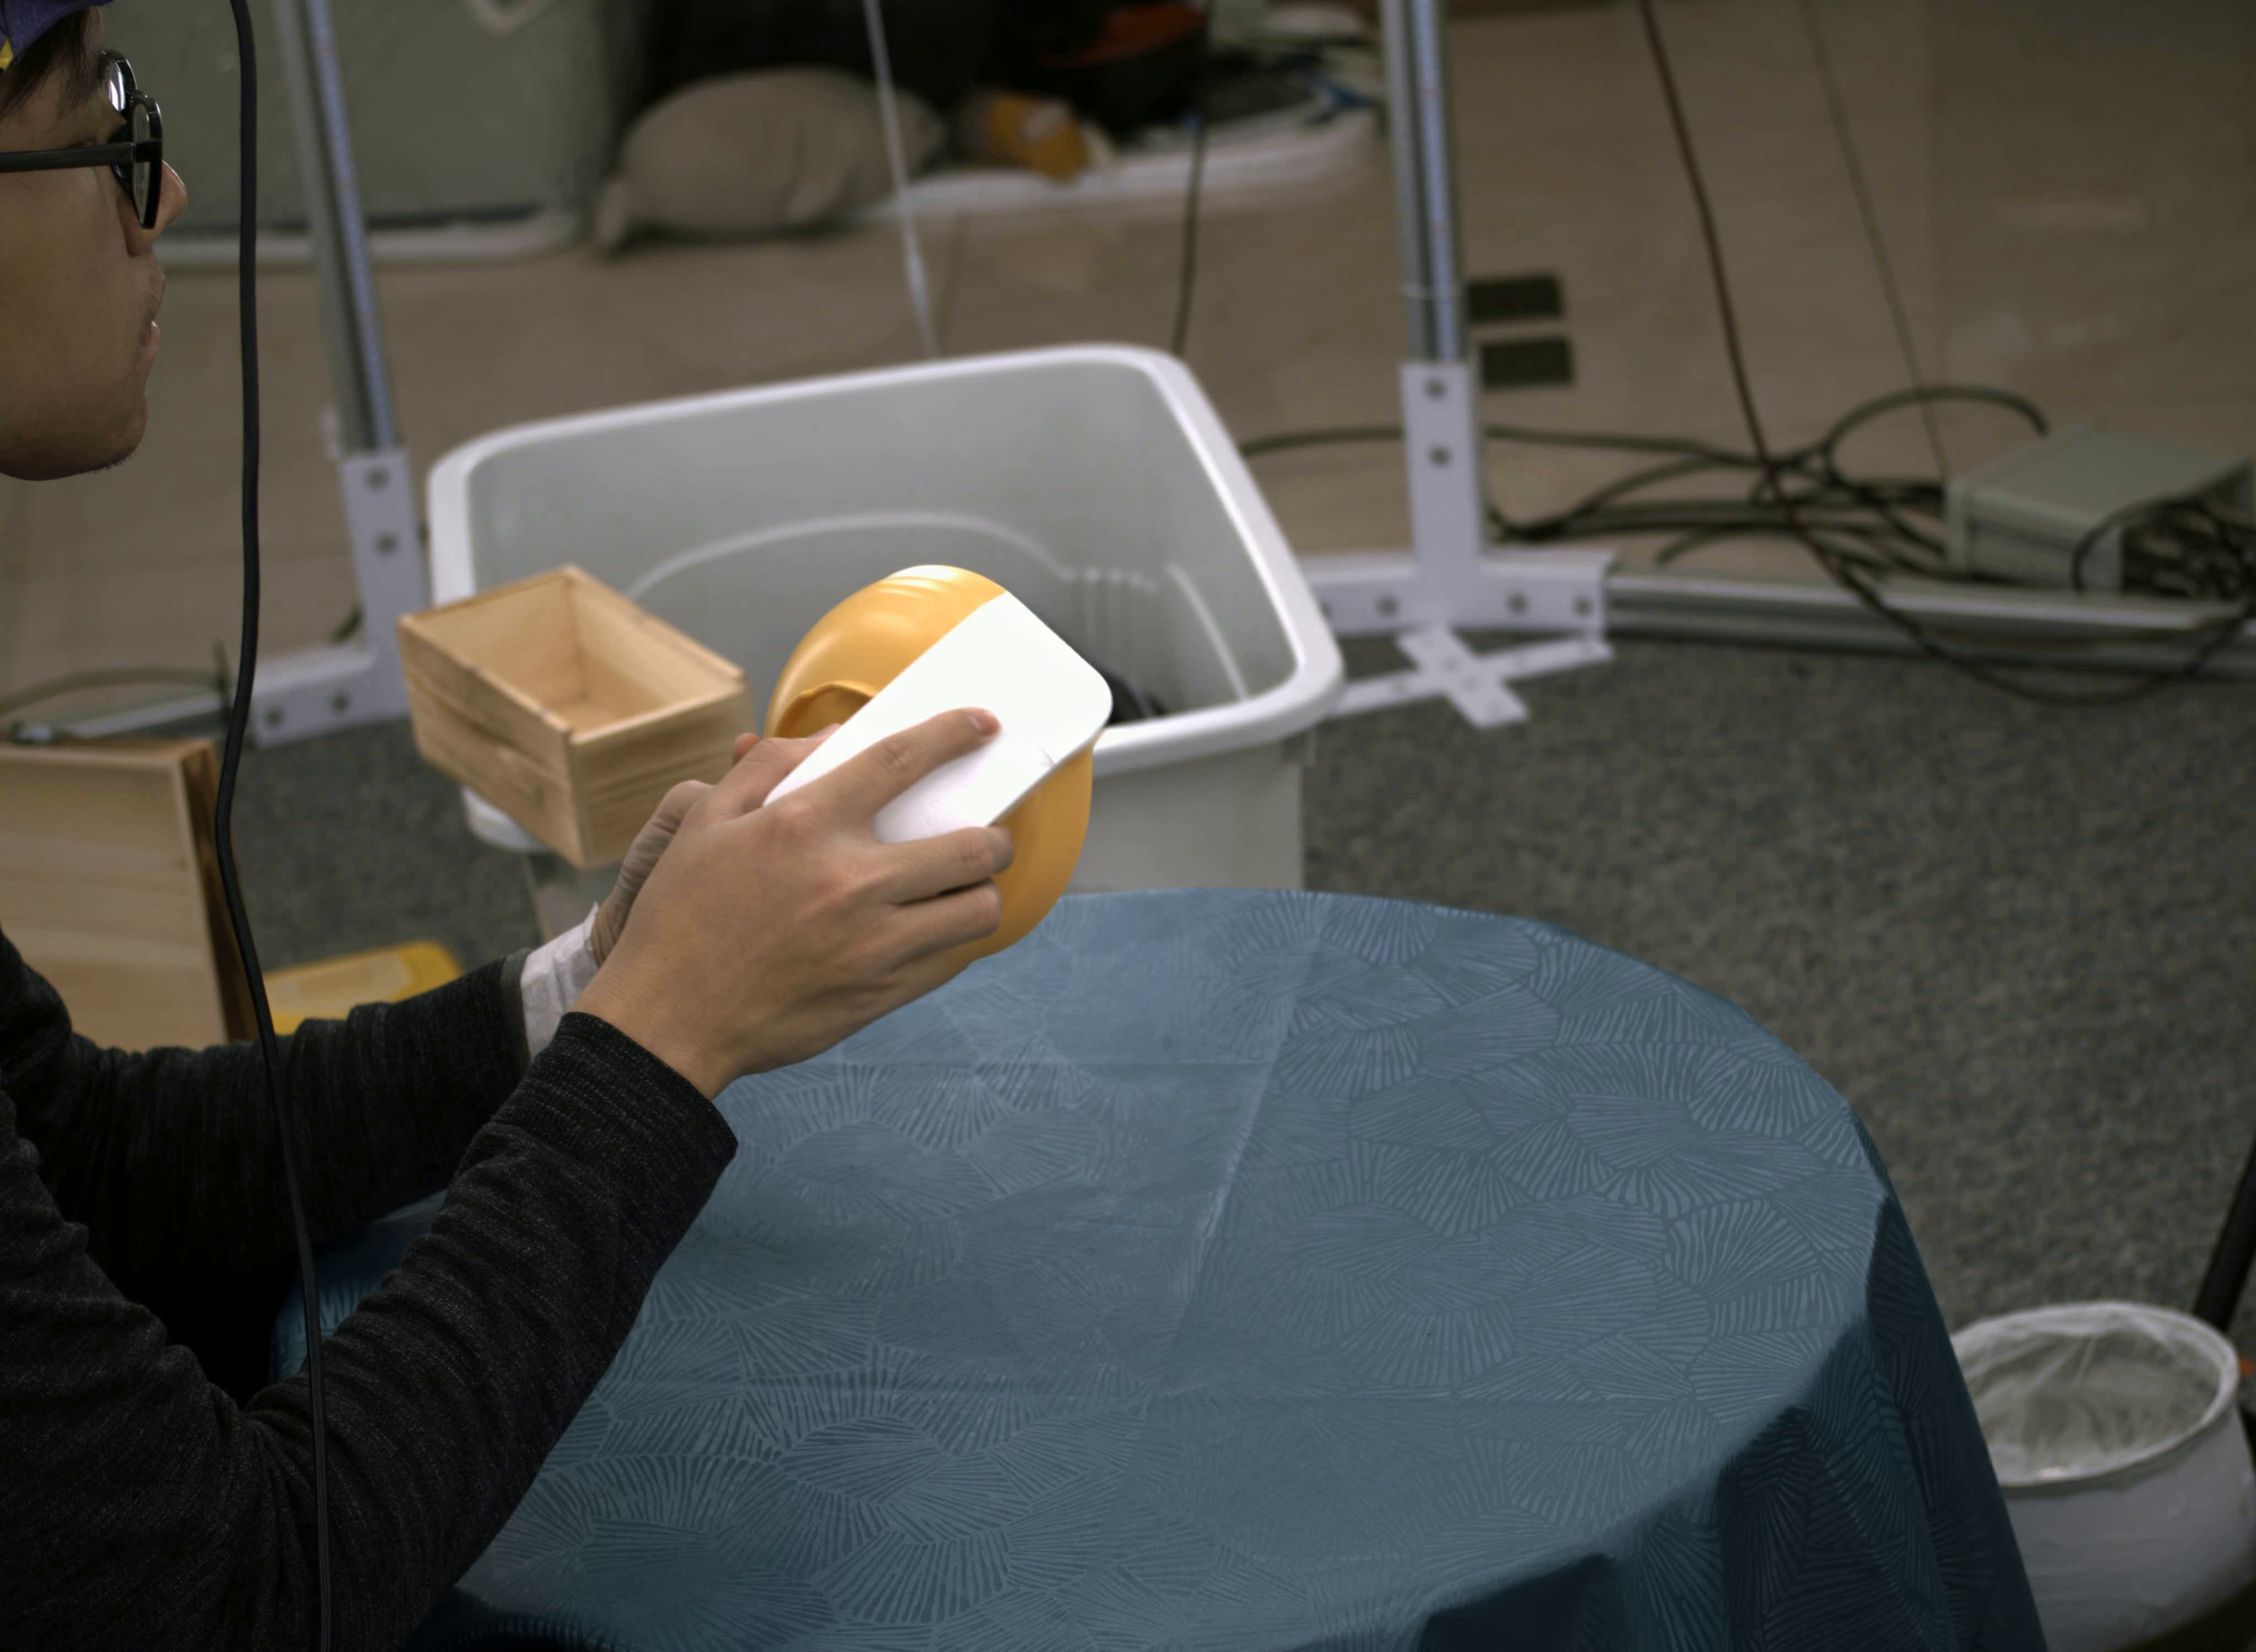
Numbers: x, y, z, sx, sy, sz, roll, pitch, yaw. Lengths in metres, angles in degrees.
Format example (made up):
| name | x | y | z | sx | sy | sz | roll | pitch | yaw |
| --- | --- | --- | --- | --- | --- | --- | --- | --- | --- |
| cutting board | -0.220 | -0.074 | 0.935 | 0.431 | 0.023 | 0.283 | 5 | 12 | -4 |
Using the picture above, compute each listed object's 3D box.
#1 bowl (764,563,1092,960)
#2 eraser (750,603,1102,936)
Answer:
| name | x | y | z | sx | sy | sz | roll | pitch | yaw |
| --- | --- | --- | --- | --- | --- | --- | --- | --- | --- |
| bowl | -0.085 | -0.021 | 2.040 | 0.144 | 0.147 | 0.060 | 16 | 16 | 38 |
| eraser | -0.071 | -0.021 | 1.972 | 0.063 | 0.035 | 0.130 | 44 | 70 | 11 |
